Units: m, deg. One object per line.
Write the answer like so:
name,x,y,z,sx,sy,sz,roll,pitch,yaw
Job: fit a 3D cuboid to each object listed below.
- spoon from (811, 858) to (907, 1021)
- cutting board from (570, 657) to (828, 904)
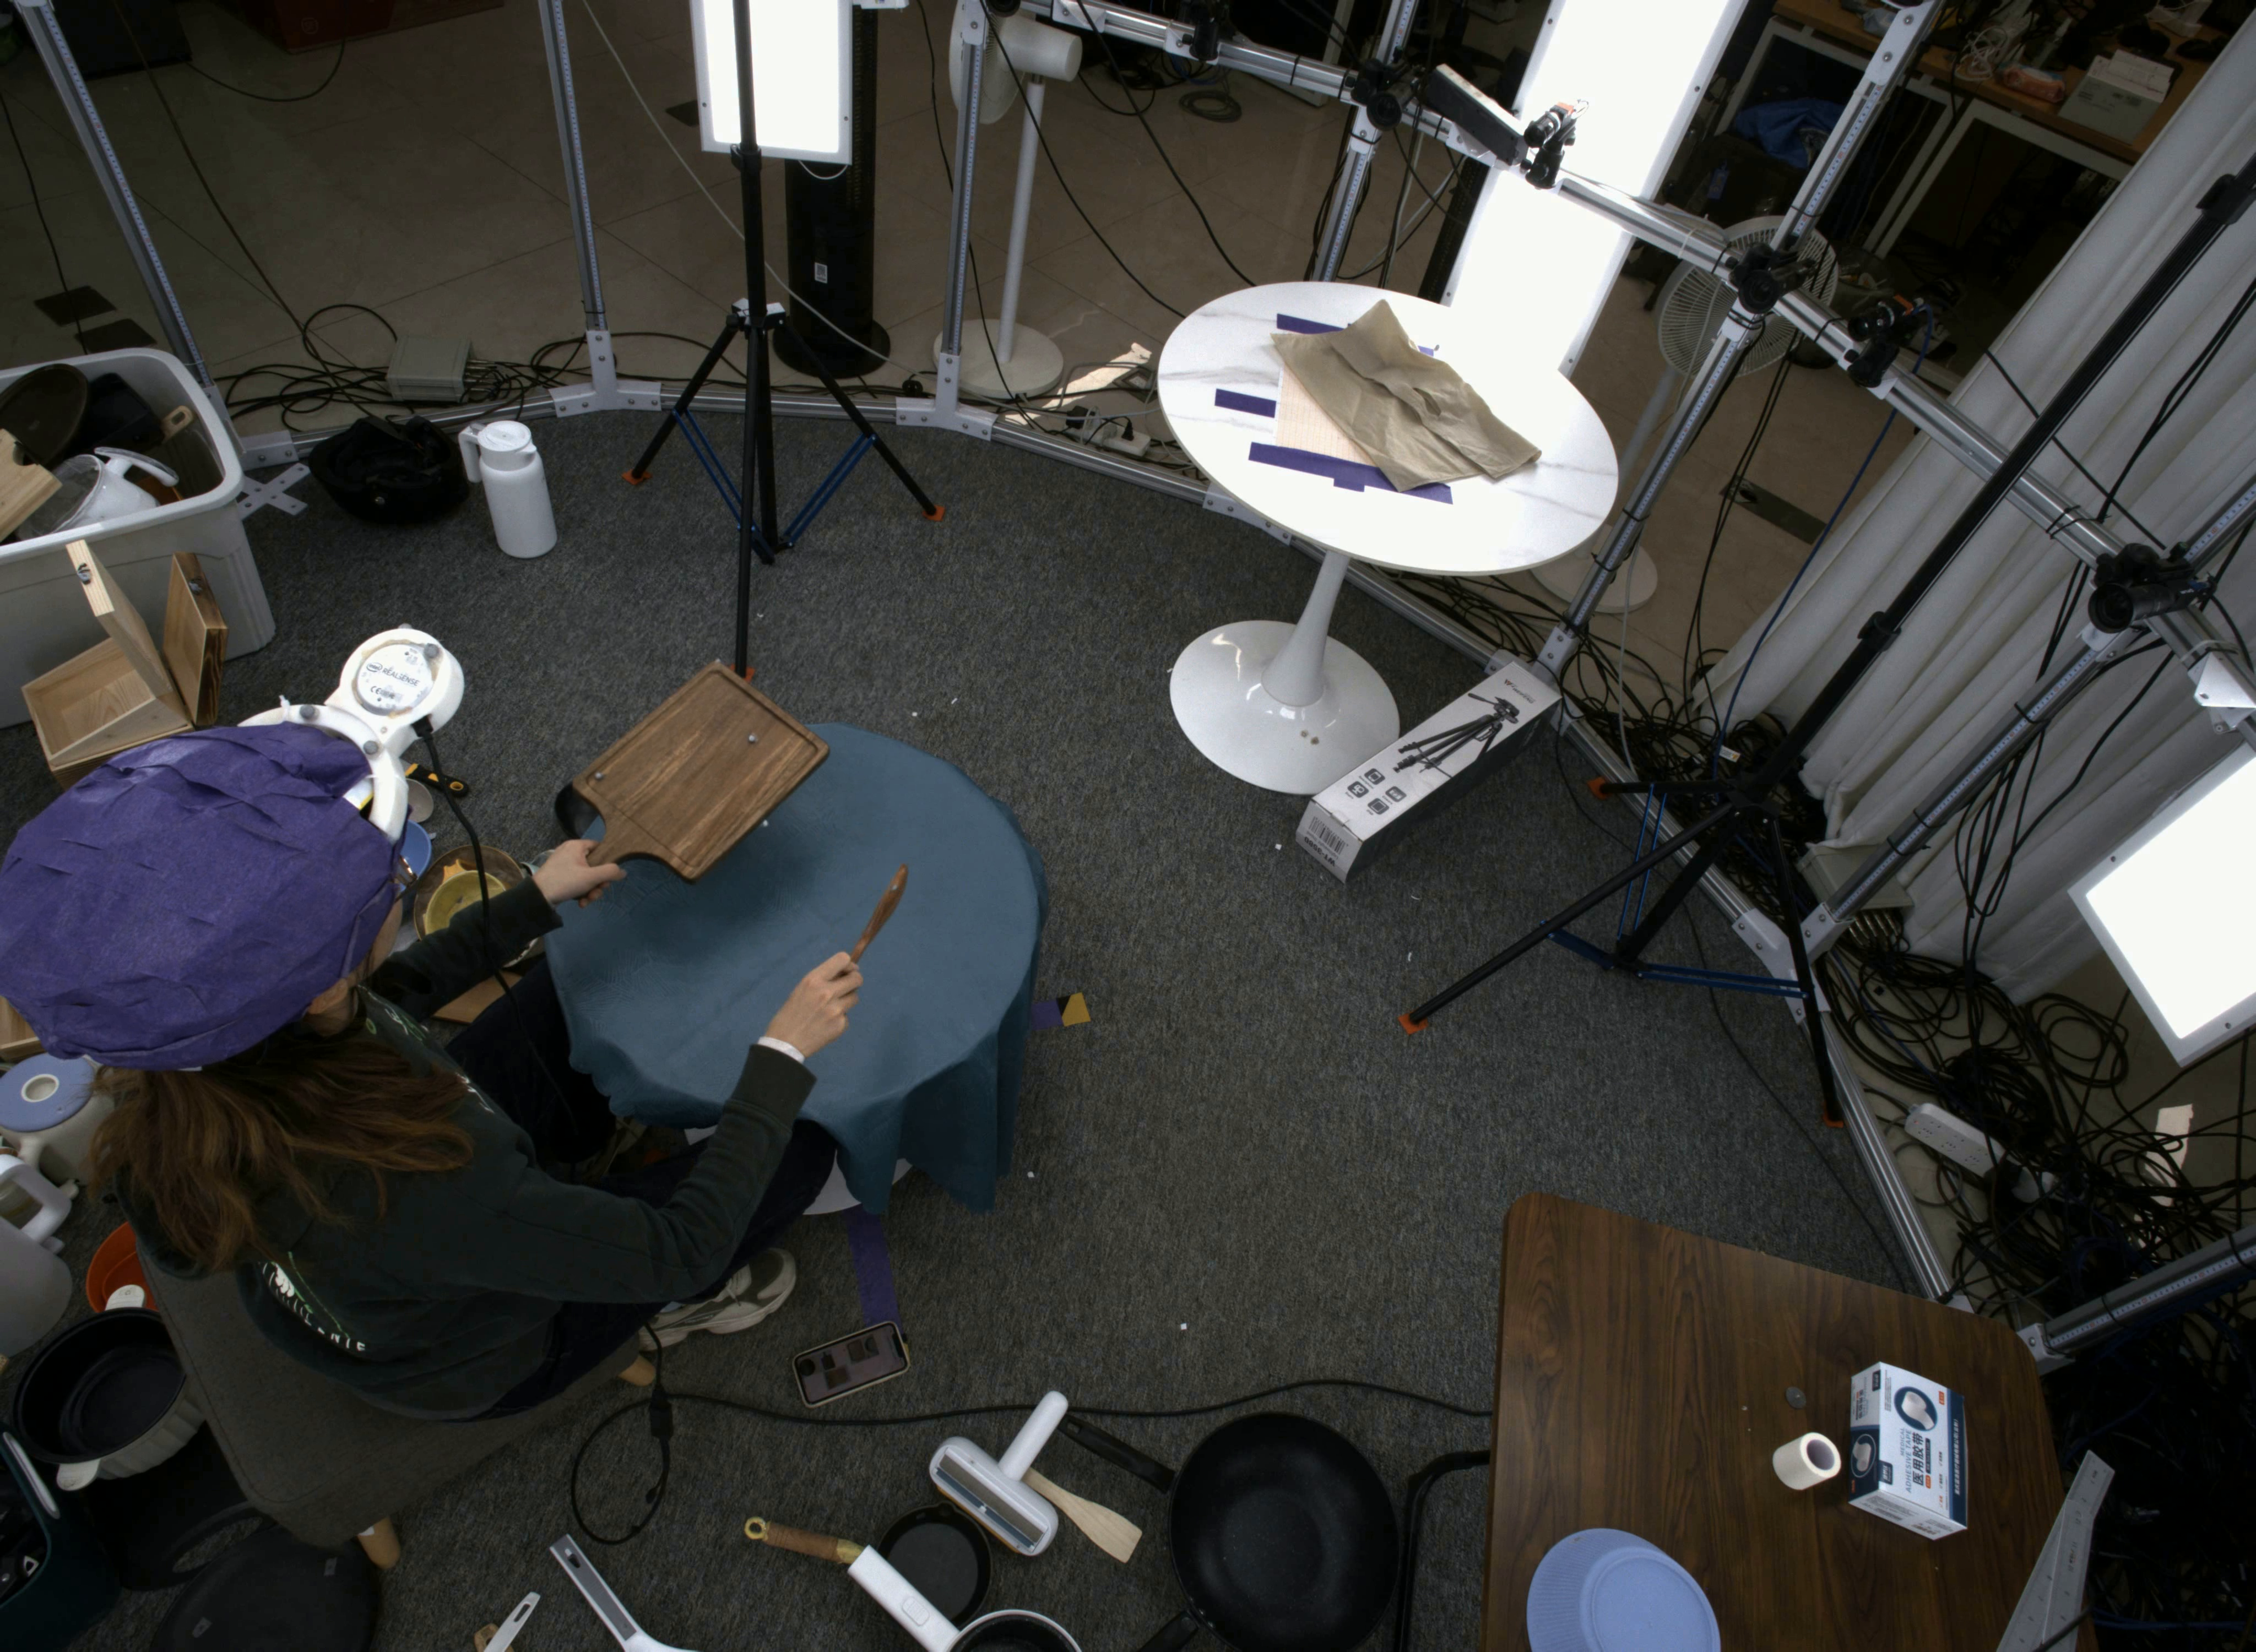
spoon,-0.291,0.121,1.426,0.017,0.075,0.214,31,54,-7
cutting board,-0.547,-0.040,1.549,0.200,0.023,0.351,38,60,2
